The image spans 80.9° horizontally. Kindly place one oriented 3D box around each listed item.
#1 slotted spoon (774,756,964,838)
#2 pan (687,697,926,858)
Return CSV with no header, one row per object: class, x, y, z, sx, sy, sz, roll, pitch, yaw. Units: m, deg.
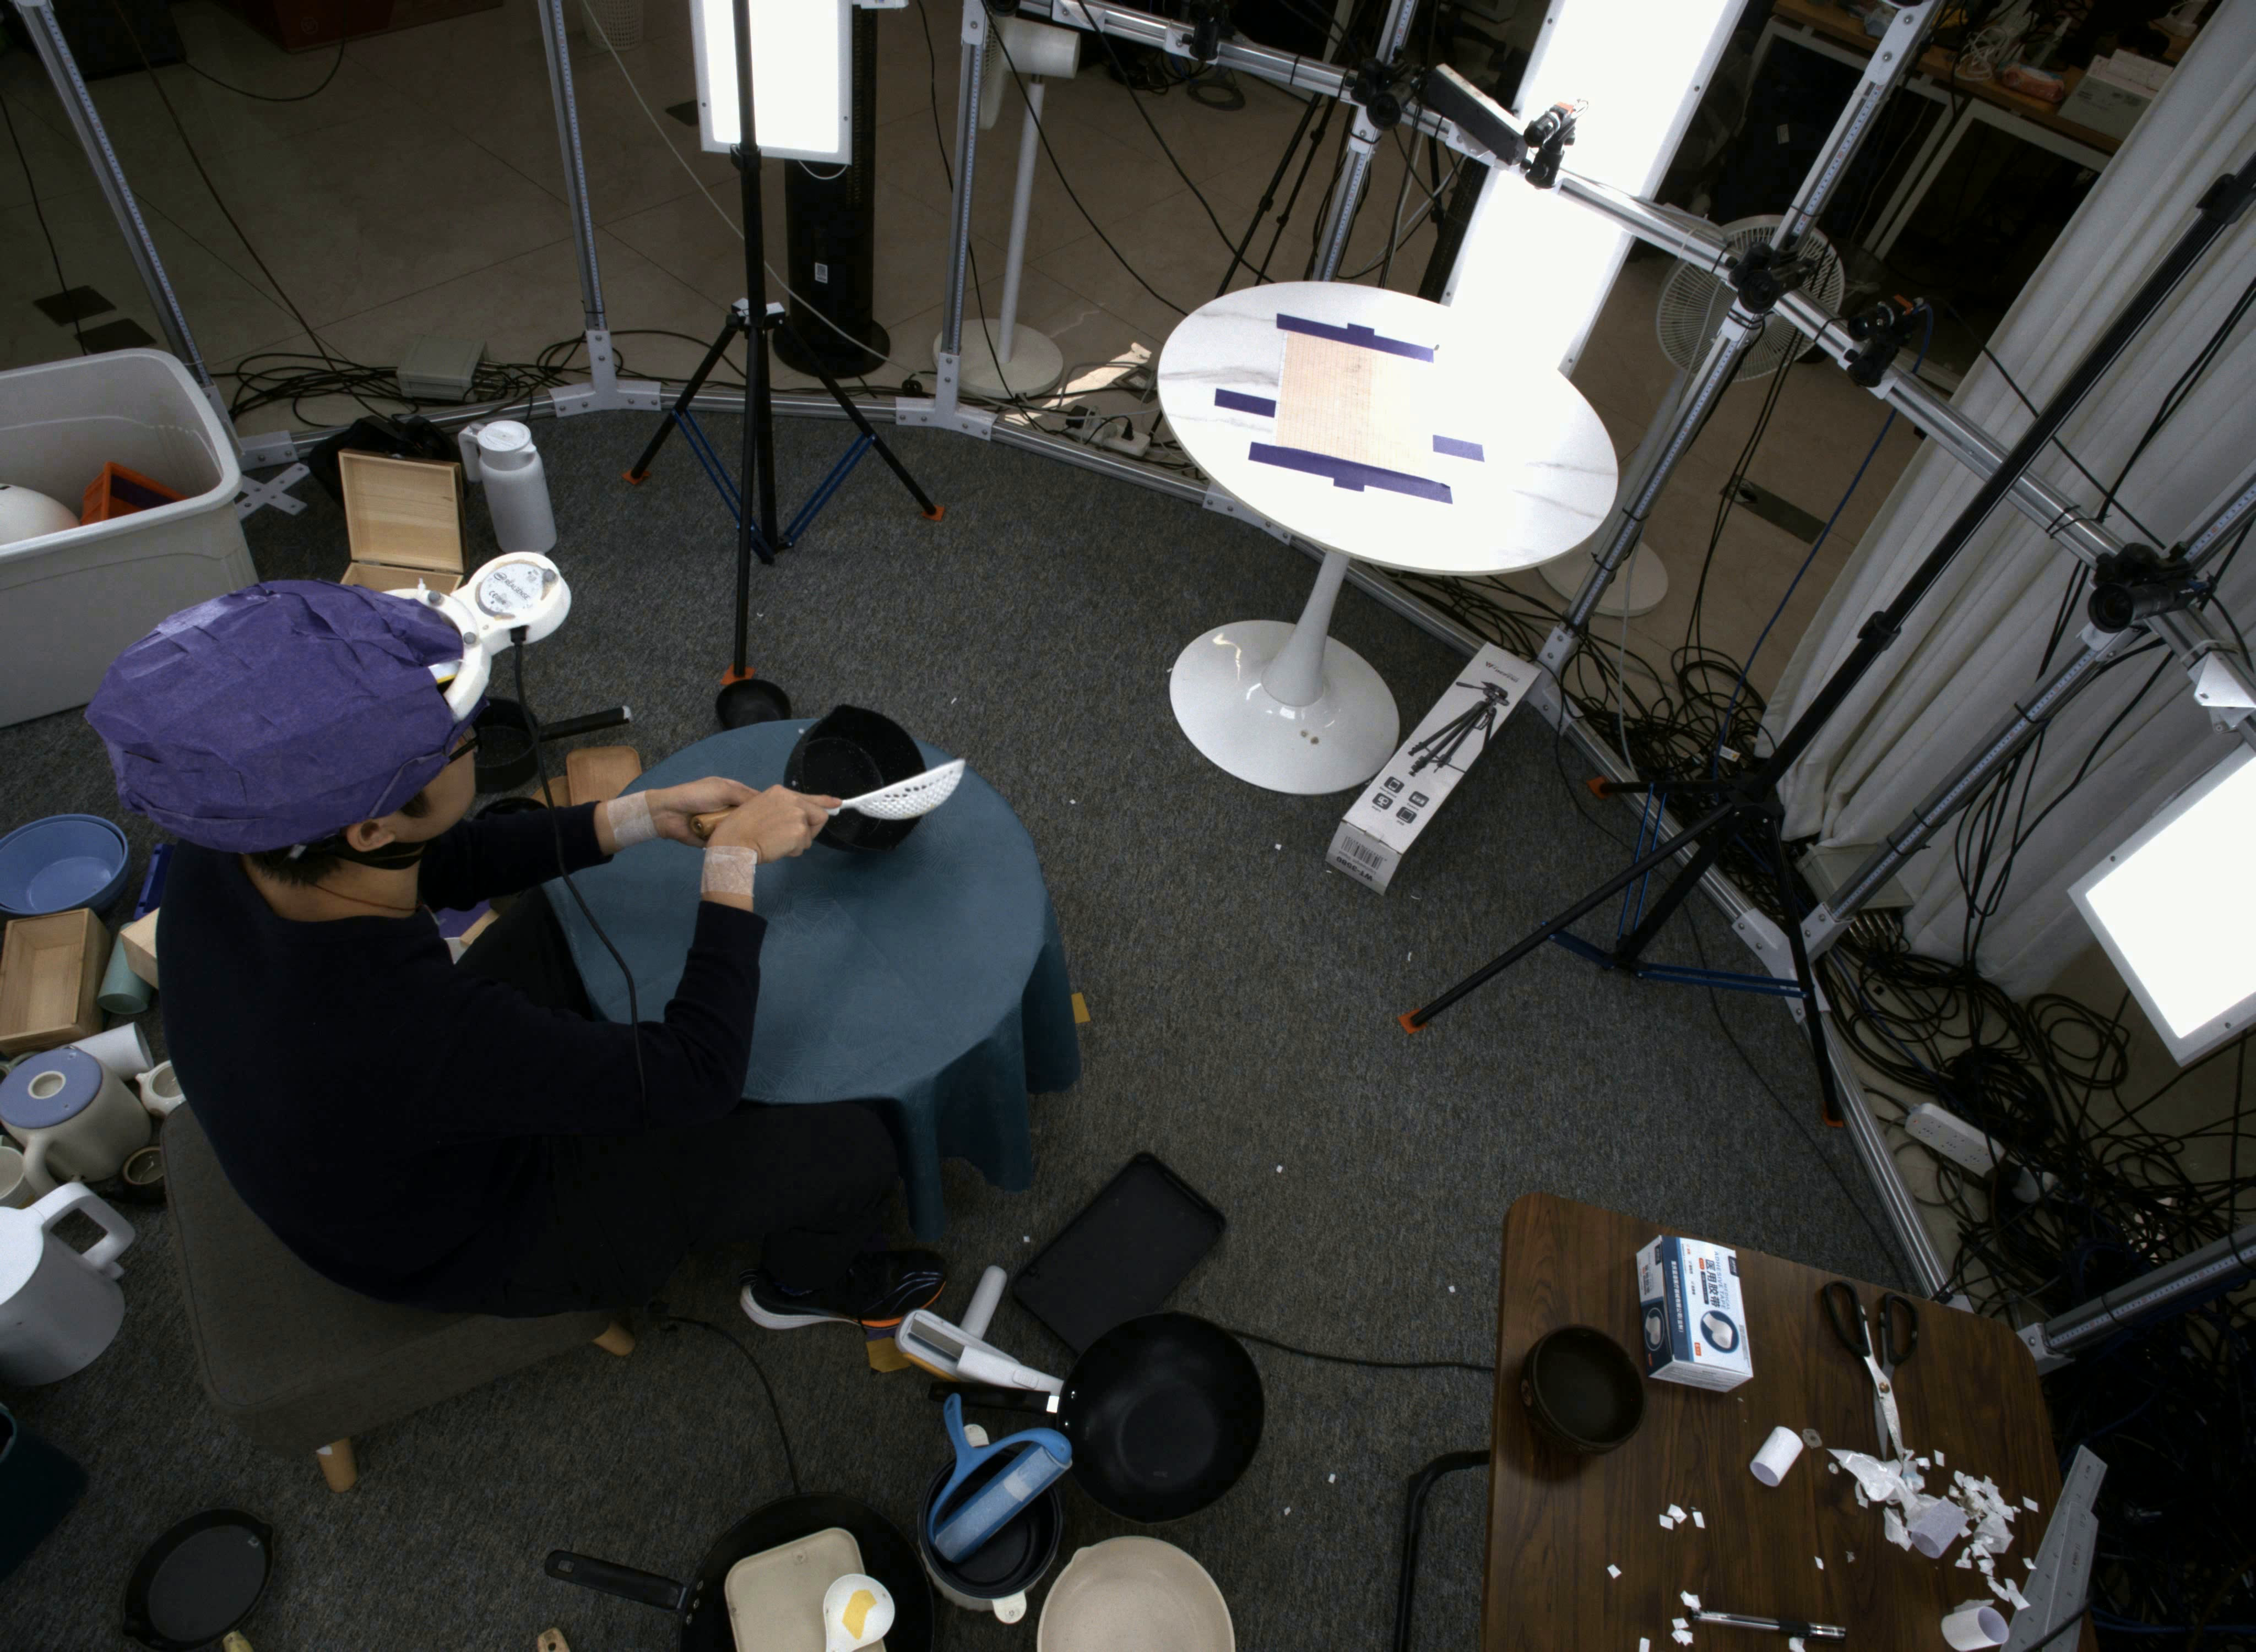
slotted spoon,-0.312,-0.026,1.539,0.352,0.135,0.050,-12,76,-63
pan,-0.407,-0.036,1.610,0.346,0.105,0.211,-23,97,-45
